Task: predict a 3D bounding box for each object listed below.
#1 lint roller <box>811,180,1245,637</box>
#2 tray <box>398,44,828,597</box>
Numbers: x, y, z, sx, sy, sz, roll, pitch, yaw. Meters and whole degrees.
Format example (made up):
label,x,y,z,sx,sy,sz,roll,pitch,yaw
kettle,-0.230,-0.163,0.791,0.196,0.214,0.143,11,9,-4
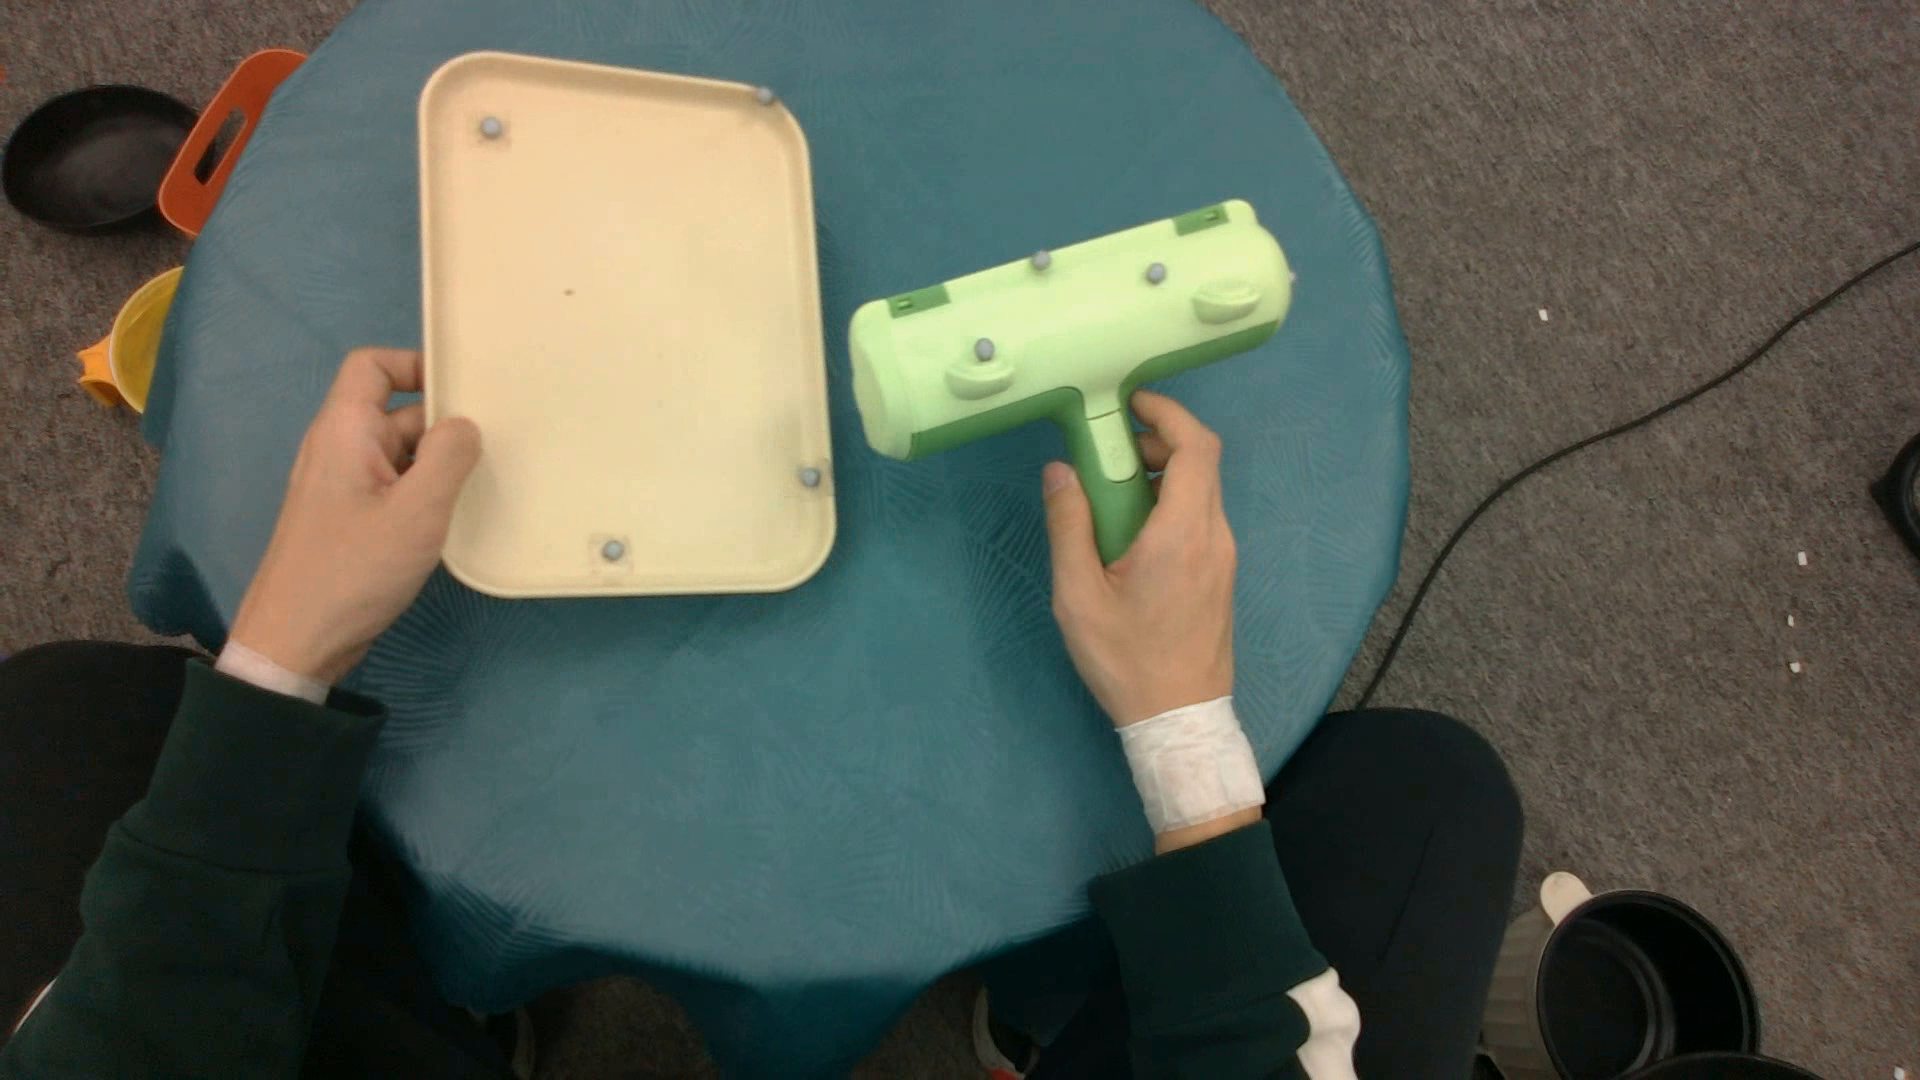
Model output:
label,x,y,z,sx,sy,sz,roll,pitch,yaw
lint roller,0.055,-0.045,0.590,0.199,0.082,0.183,-22,91,-21
tray,-0.149,-0.097,0.599,0.171,0.017,0.240,-2,82,-20
